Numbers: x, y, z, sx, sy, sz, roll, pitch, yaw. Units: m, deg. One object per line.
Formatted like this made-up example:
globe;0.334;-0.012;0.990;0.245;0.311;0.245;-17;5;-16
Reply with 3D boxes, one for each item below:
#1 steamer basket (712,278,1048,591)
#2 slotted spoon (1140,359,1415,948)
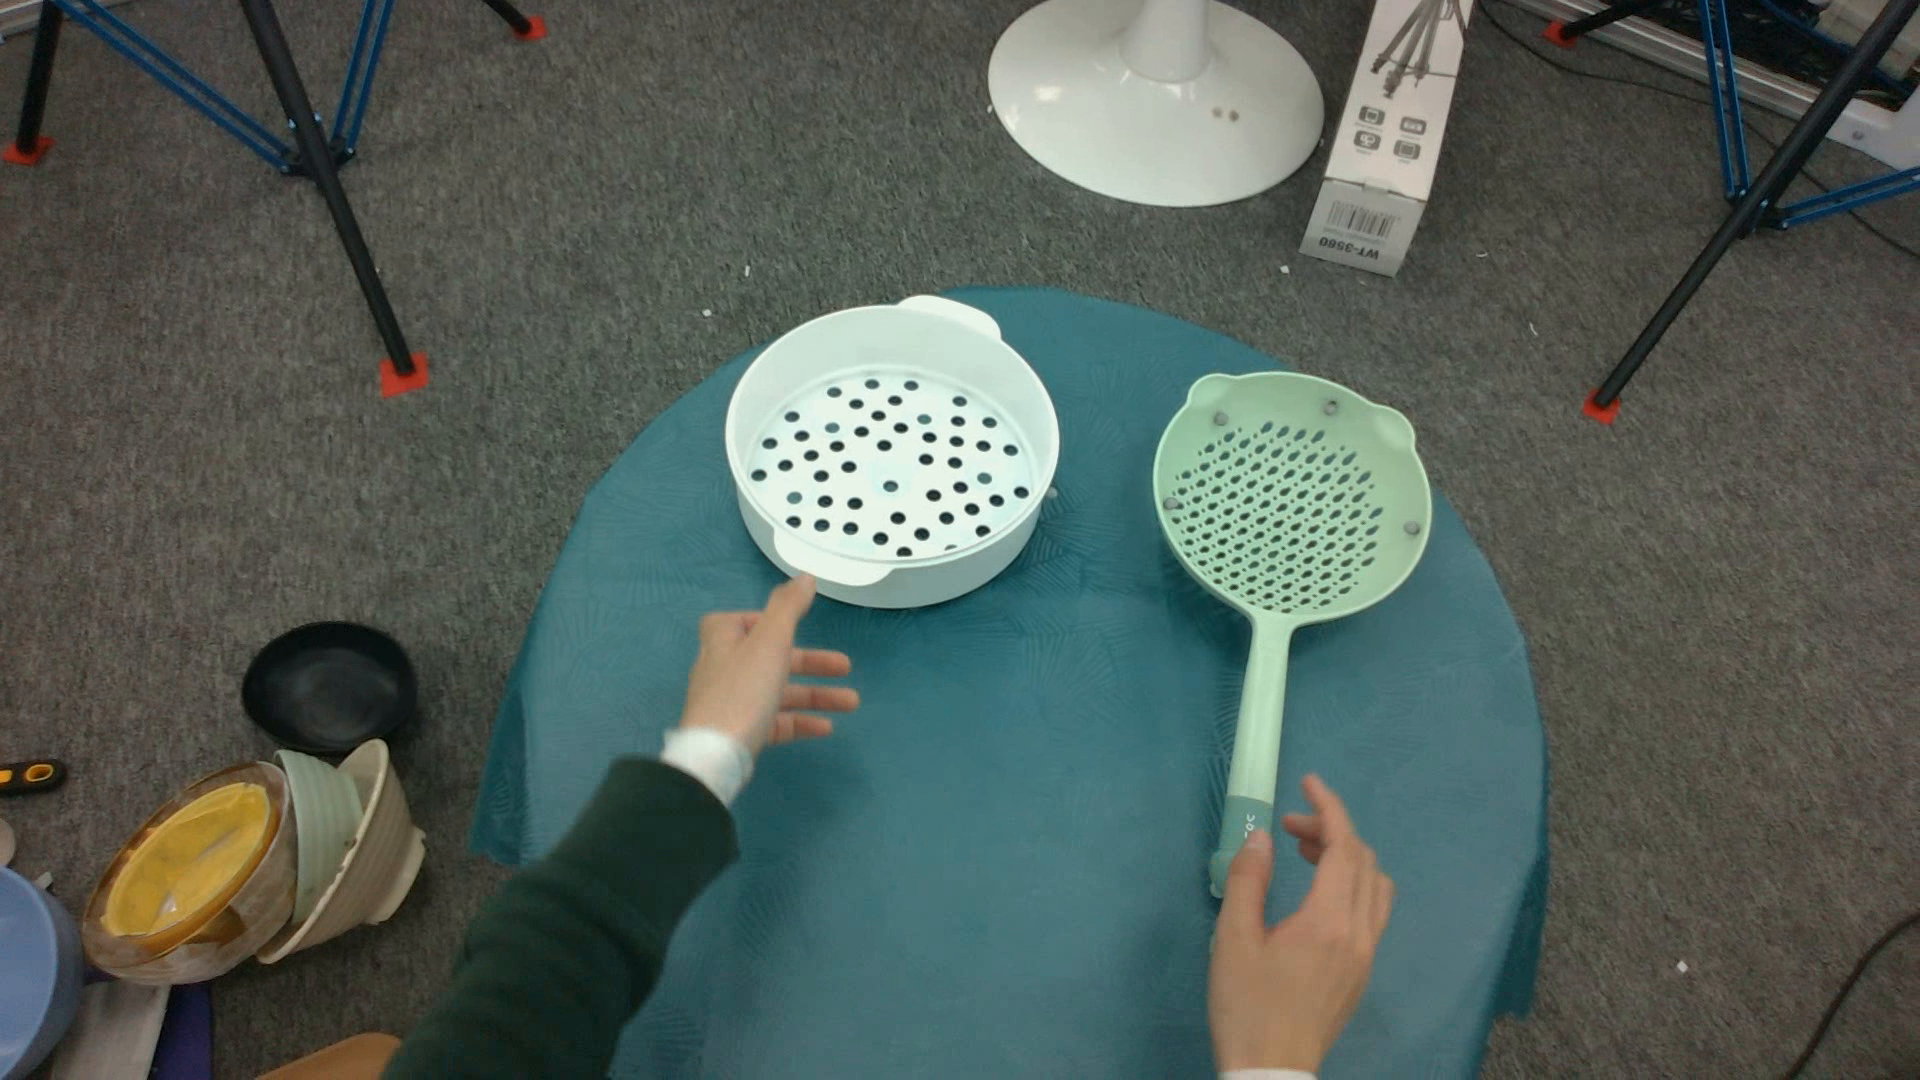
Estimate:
steamer basket;-0.049;-0.062;0.854;0.202;0.069;0.232;17;56;7
slotted spoon;0.171;0.052;0.802;0.169;0.075;0.360;12;56;3
